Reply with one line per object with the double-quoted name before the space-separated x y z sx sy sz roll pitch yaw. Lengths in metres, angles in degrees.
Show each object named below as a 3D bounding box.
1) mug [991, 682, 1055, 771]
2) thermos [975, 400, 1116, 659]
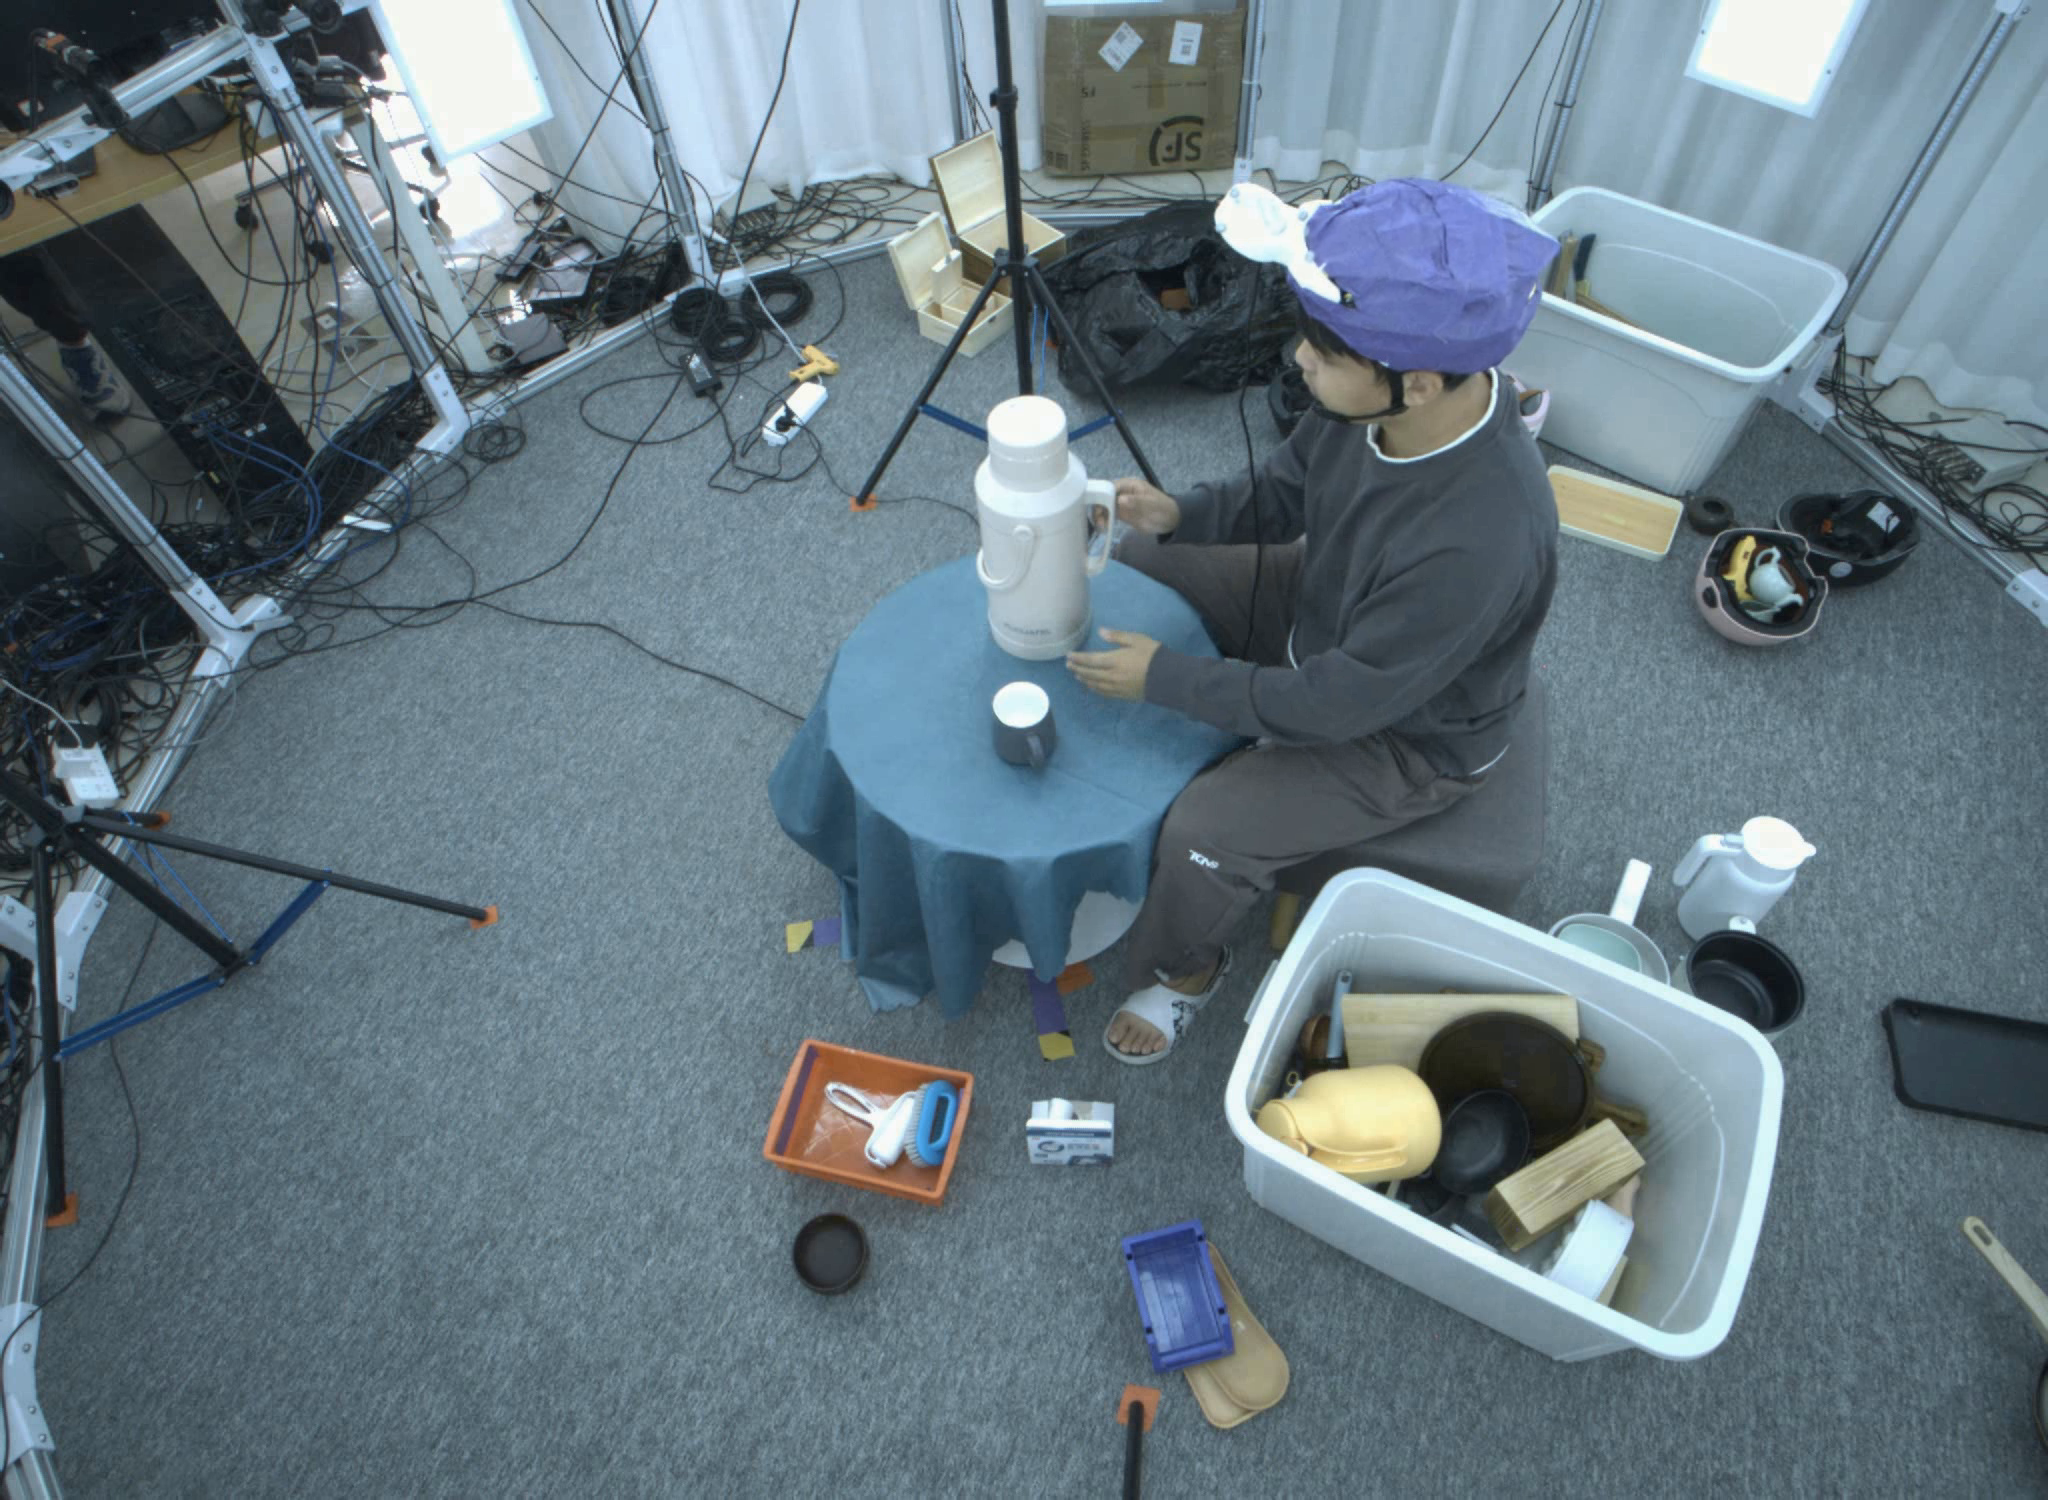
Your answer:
"mug" 0.001 -0.027 1.751 0.094 0.091 0.121 -16 55 -9
"thermos" 0.029 -0.315 1.765 0.206 0.411 0.174 3 54 7
